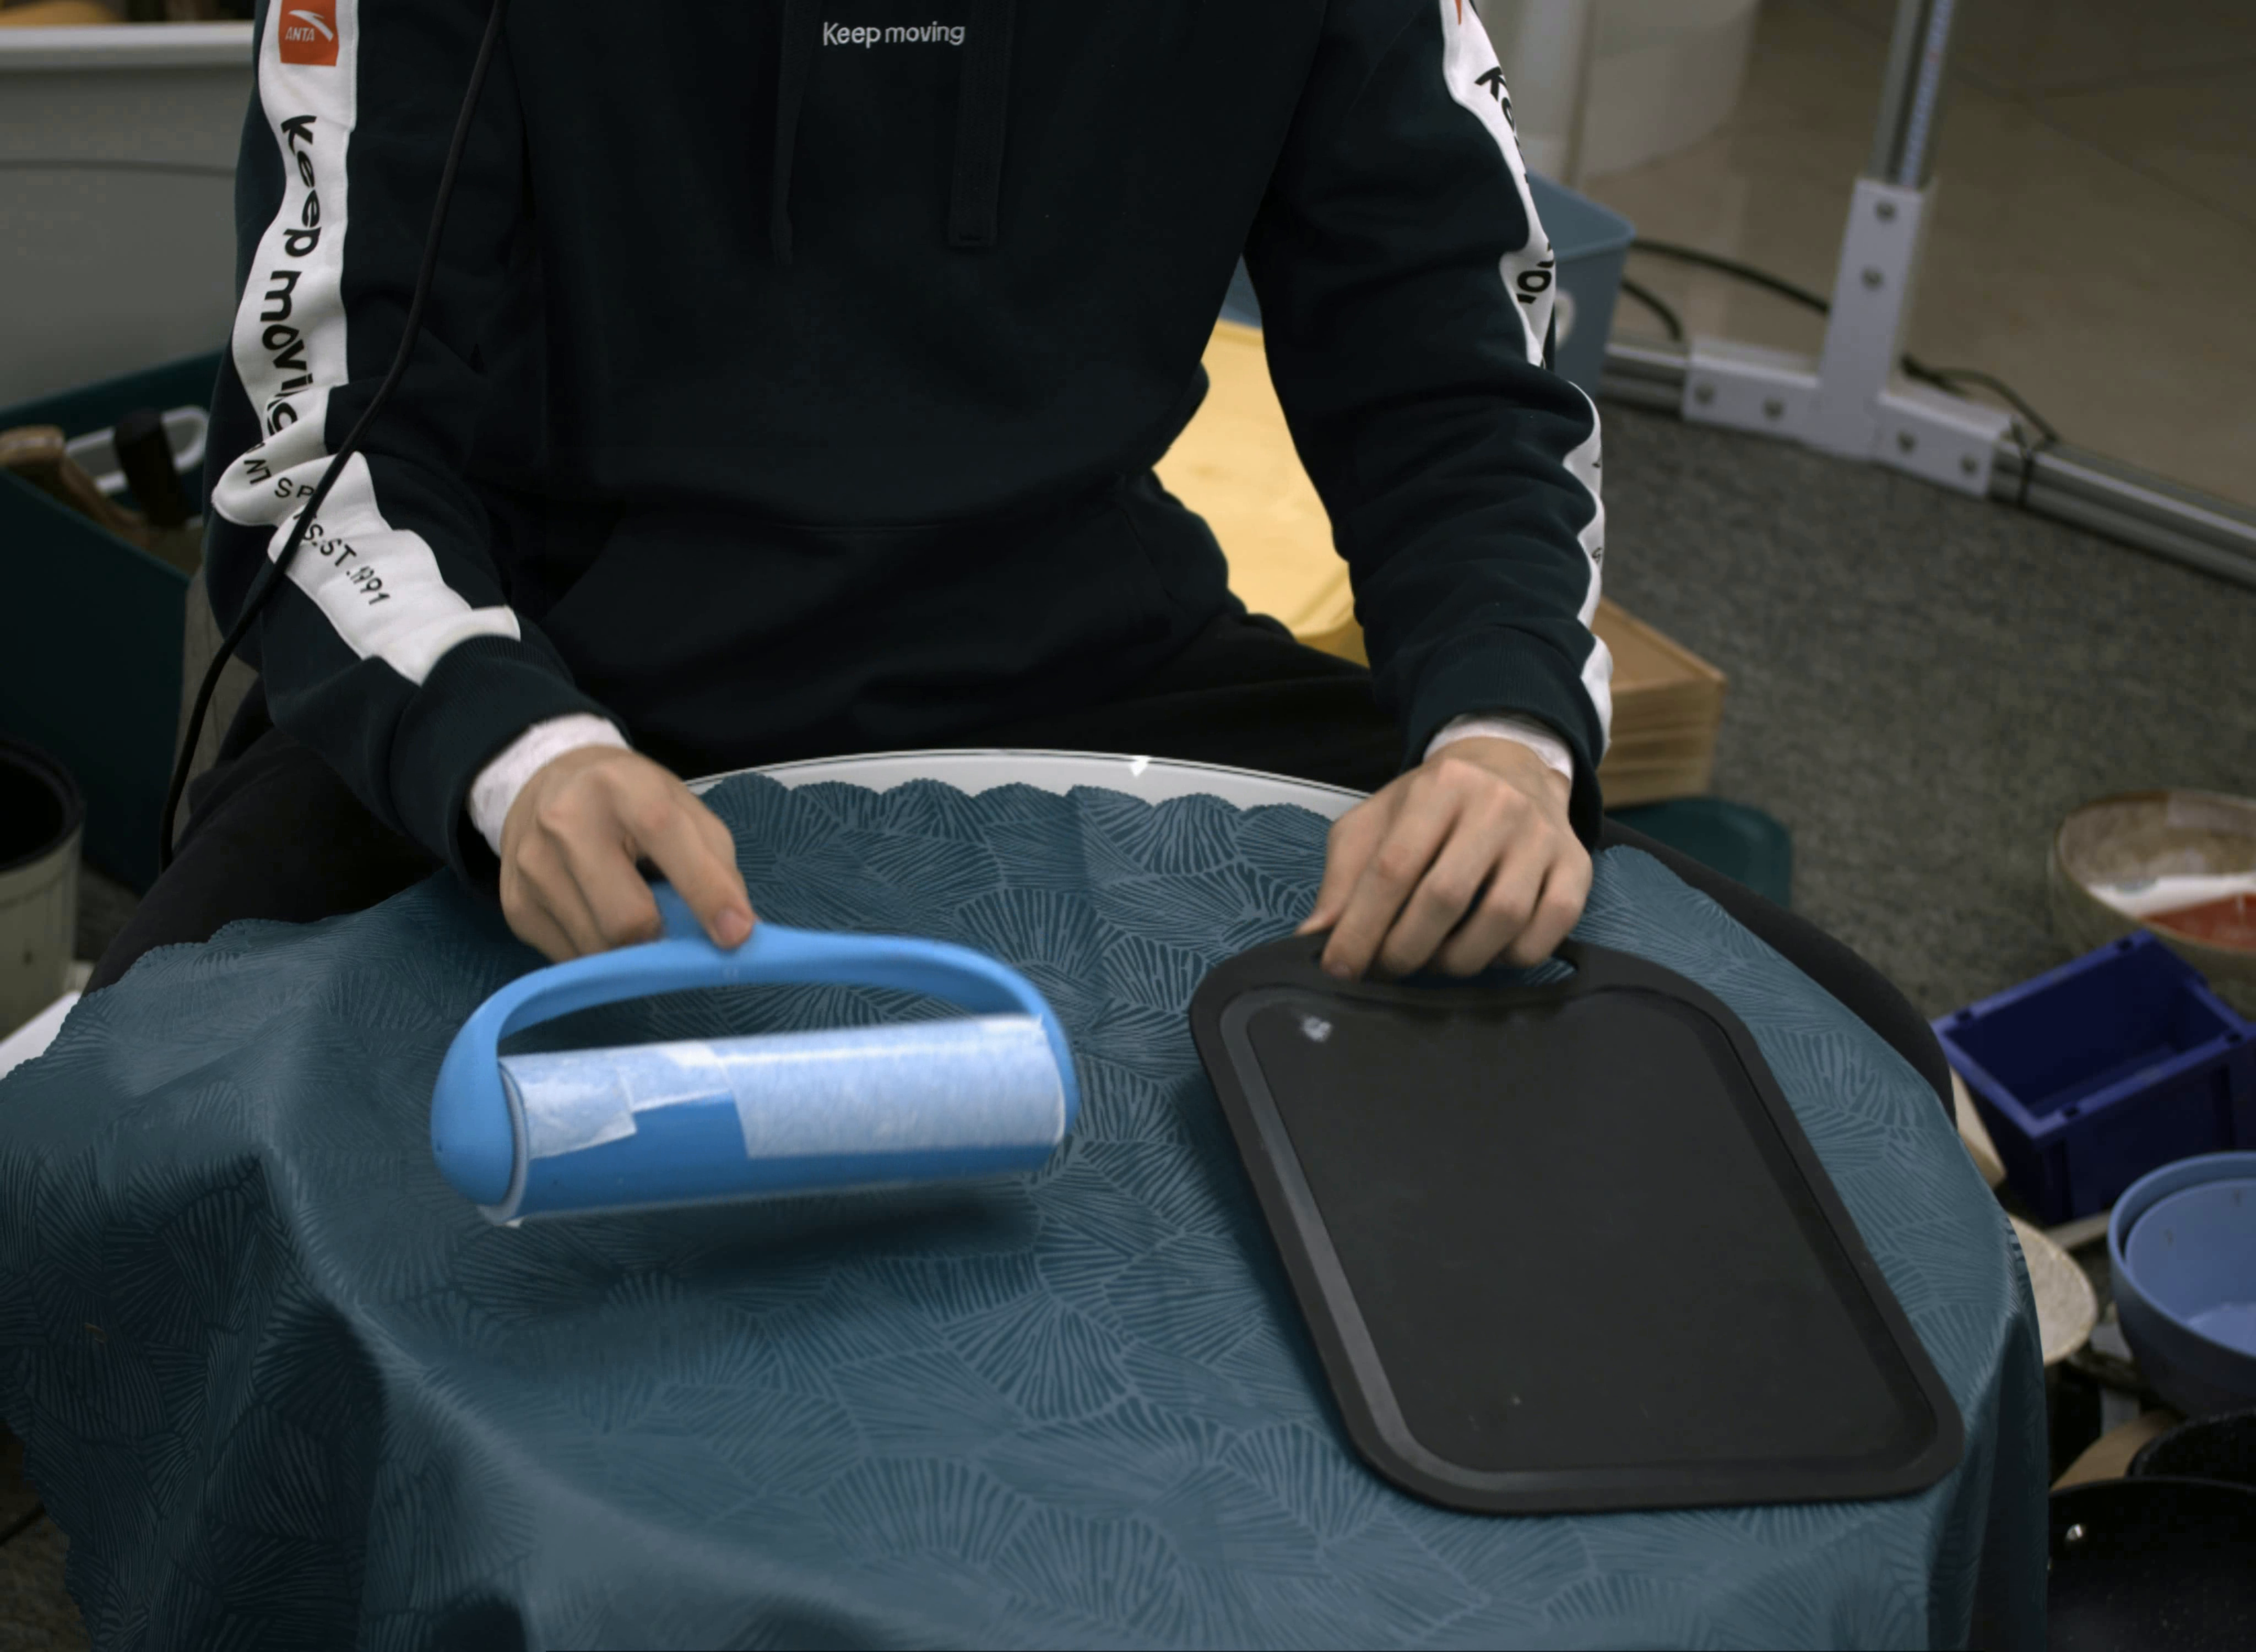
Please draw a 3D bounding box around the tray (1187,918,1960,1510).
[{"bbox_3d":[0.141,0.122,1.792,0.210,0.010,0.328,0,33,-14],"label":"tray"}]

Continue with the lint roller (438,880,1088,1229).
[{"bbox_3d":[-0.143,0.057,1.762,0.227,0.067,0.182,-8,39,-30],"label":"lint roller"}]
